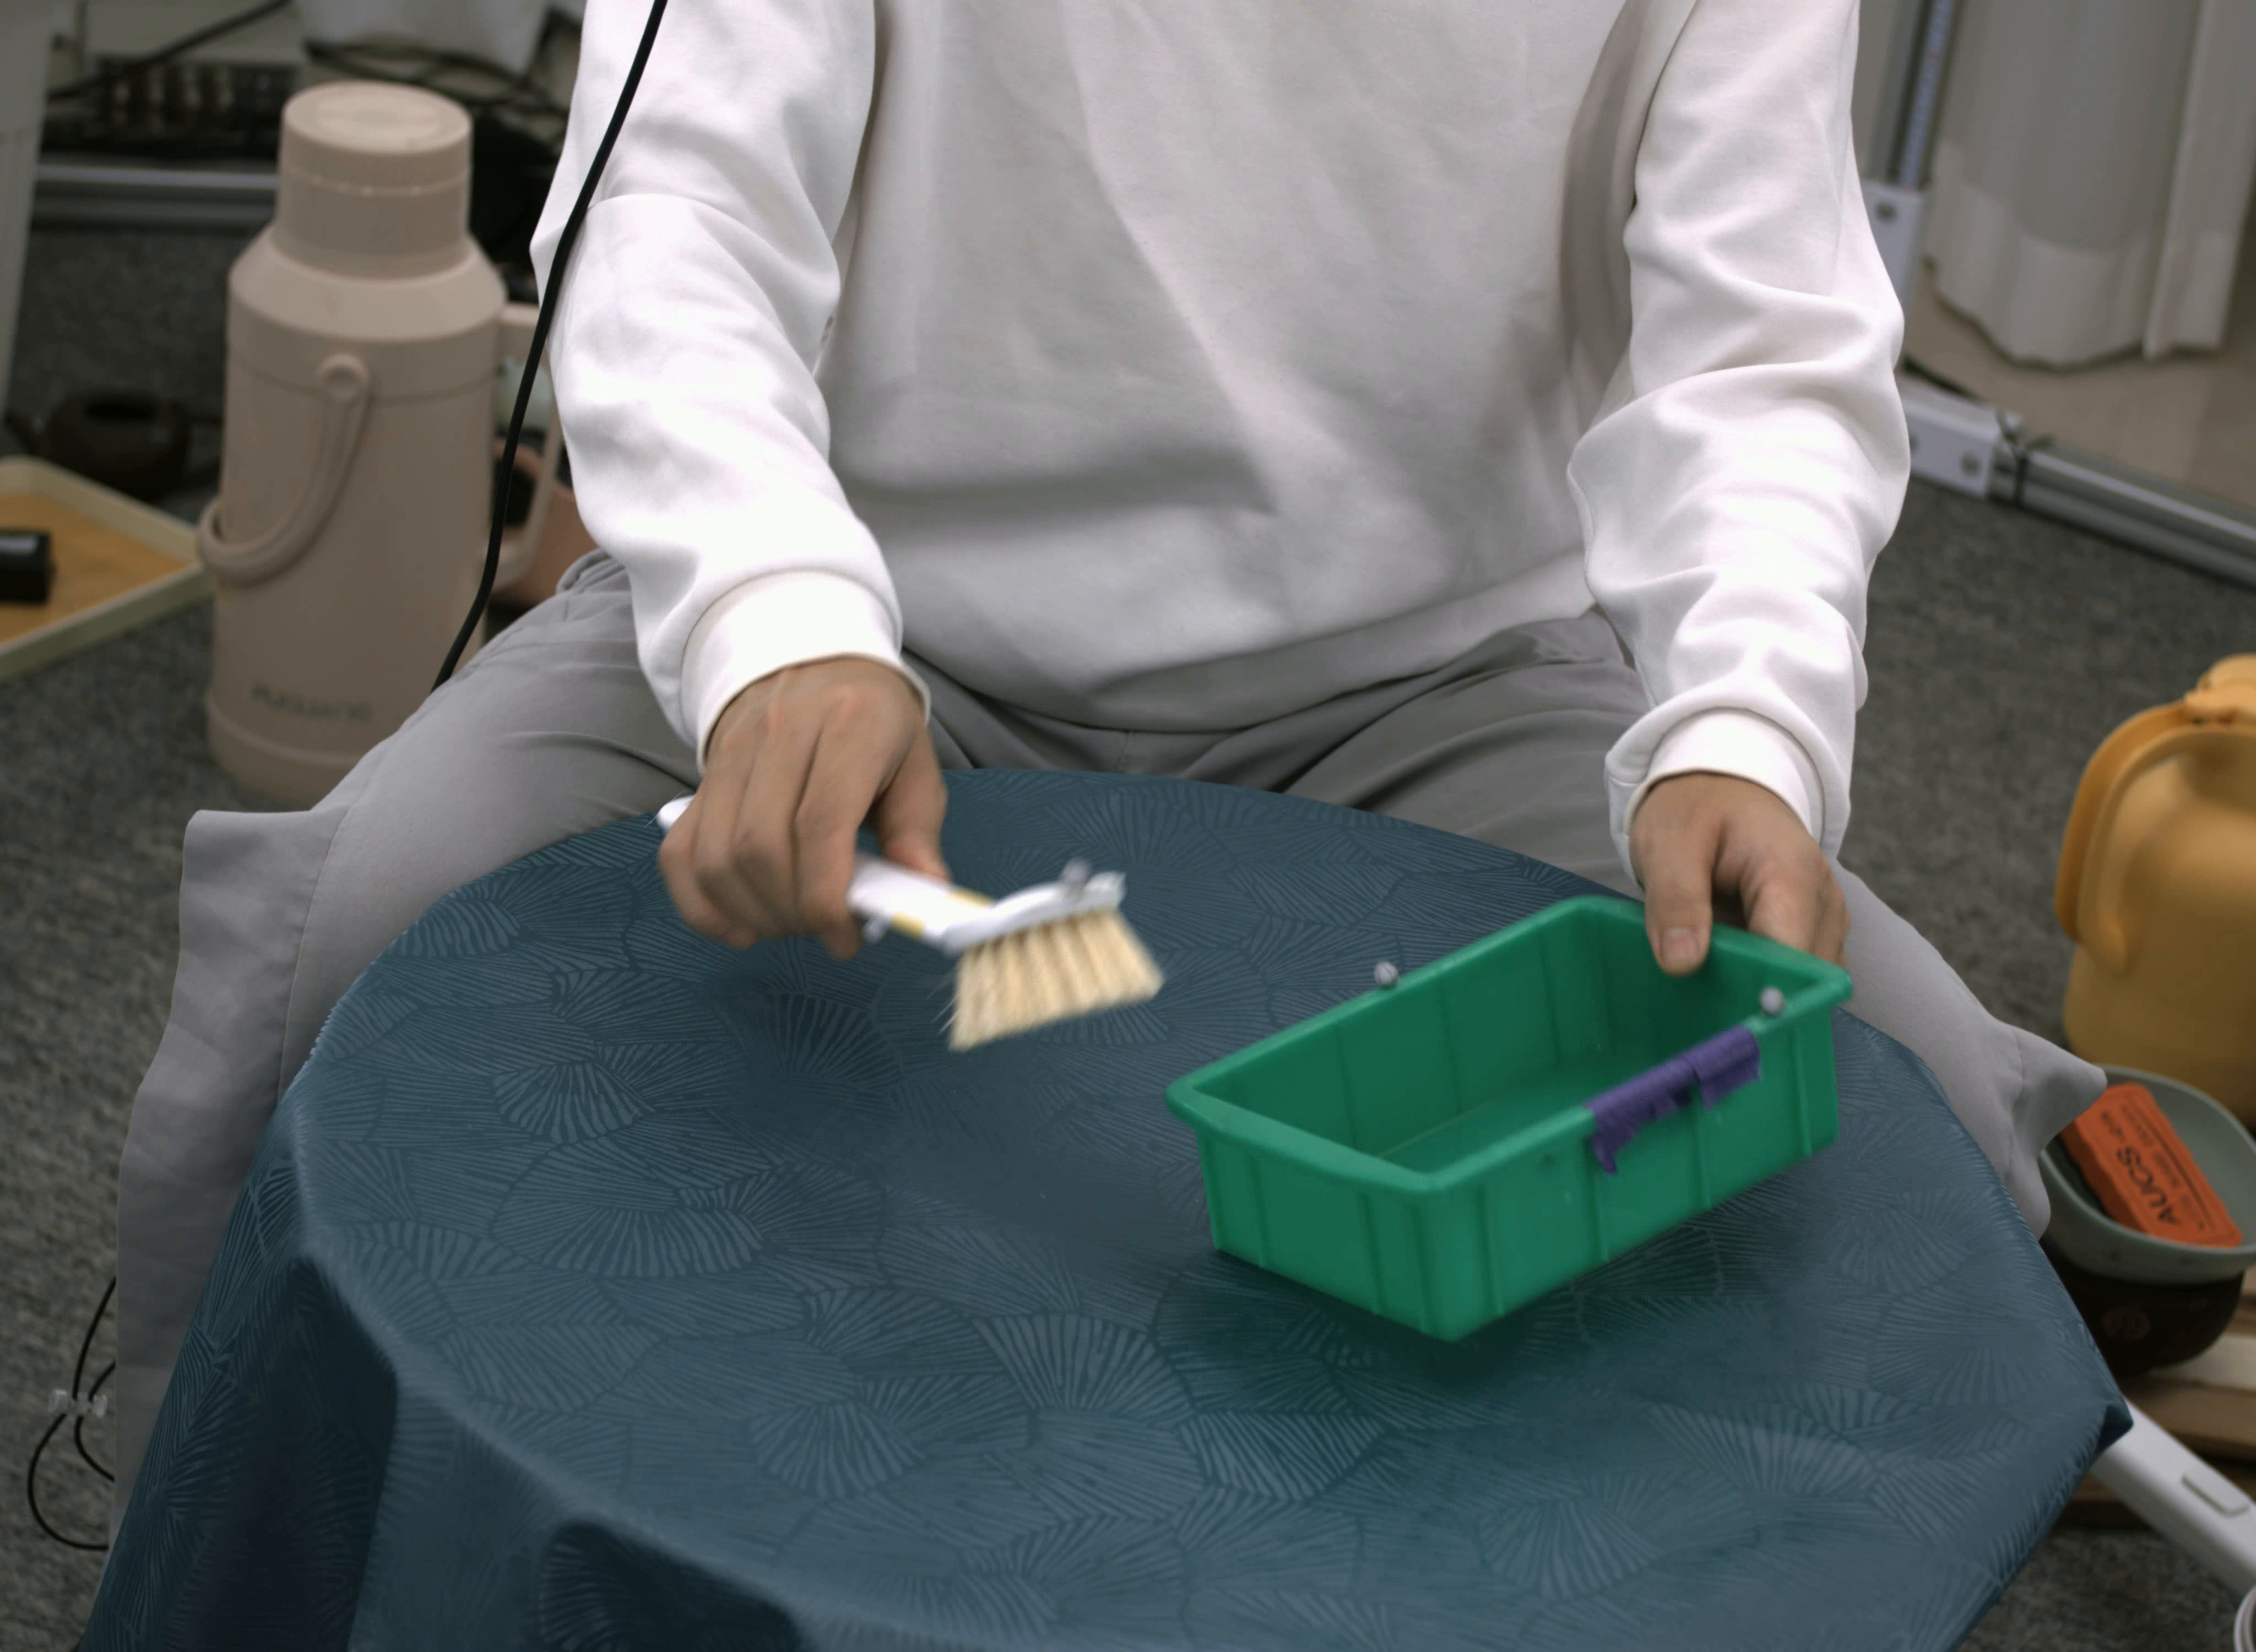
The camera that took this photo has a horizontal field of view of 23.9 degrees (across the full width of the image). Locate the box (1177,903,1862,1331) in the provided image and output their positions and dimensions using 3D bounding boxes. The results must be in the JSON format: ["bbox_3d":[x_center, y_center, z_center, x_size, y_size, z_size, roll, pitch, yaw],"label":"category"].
[{"bbox_3d":[0.133,0.096,1.774,0.209,0.065,0.139,-21,25,-35],"label":"box"}]

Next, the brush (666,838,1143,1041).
[{"bbox_3d":[-0.083,0.038,1.797,0.068,0.056,0.268,4,1,-34],"label":"brush"}]
